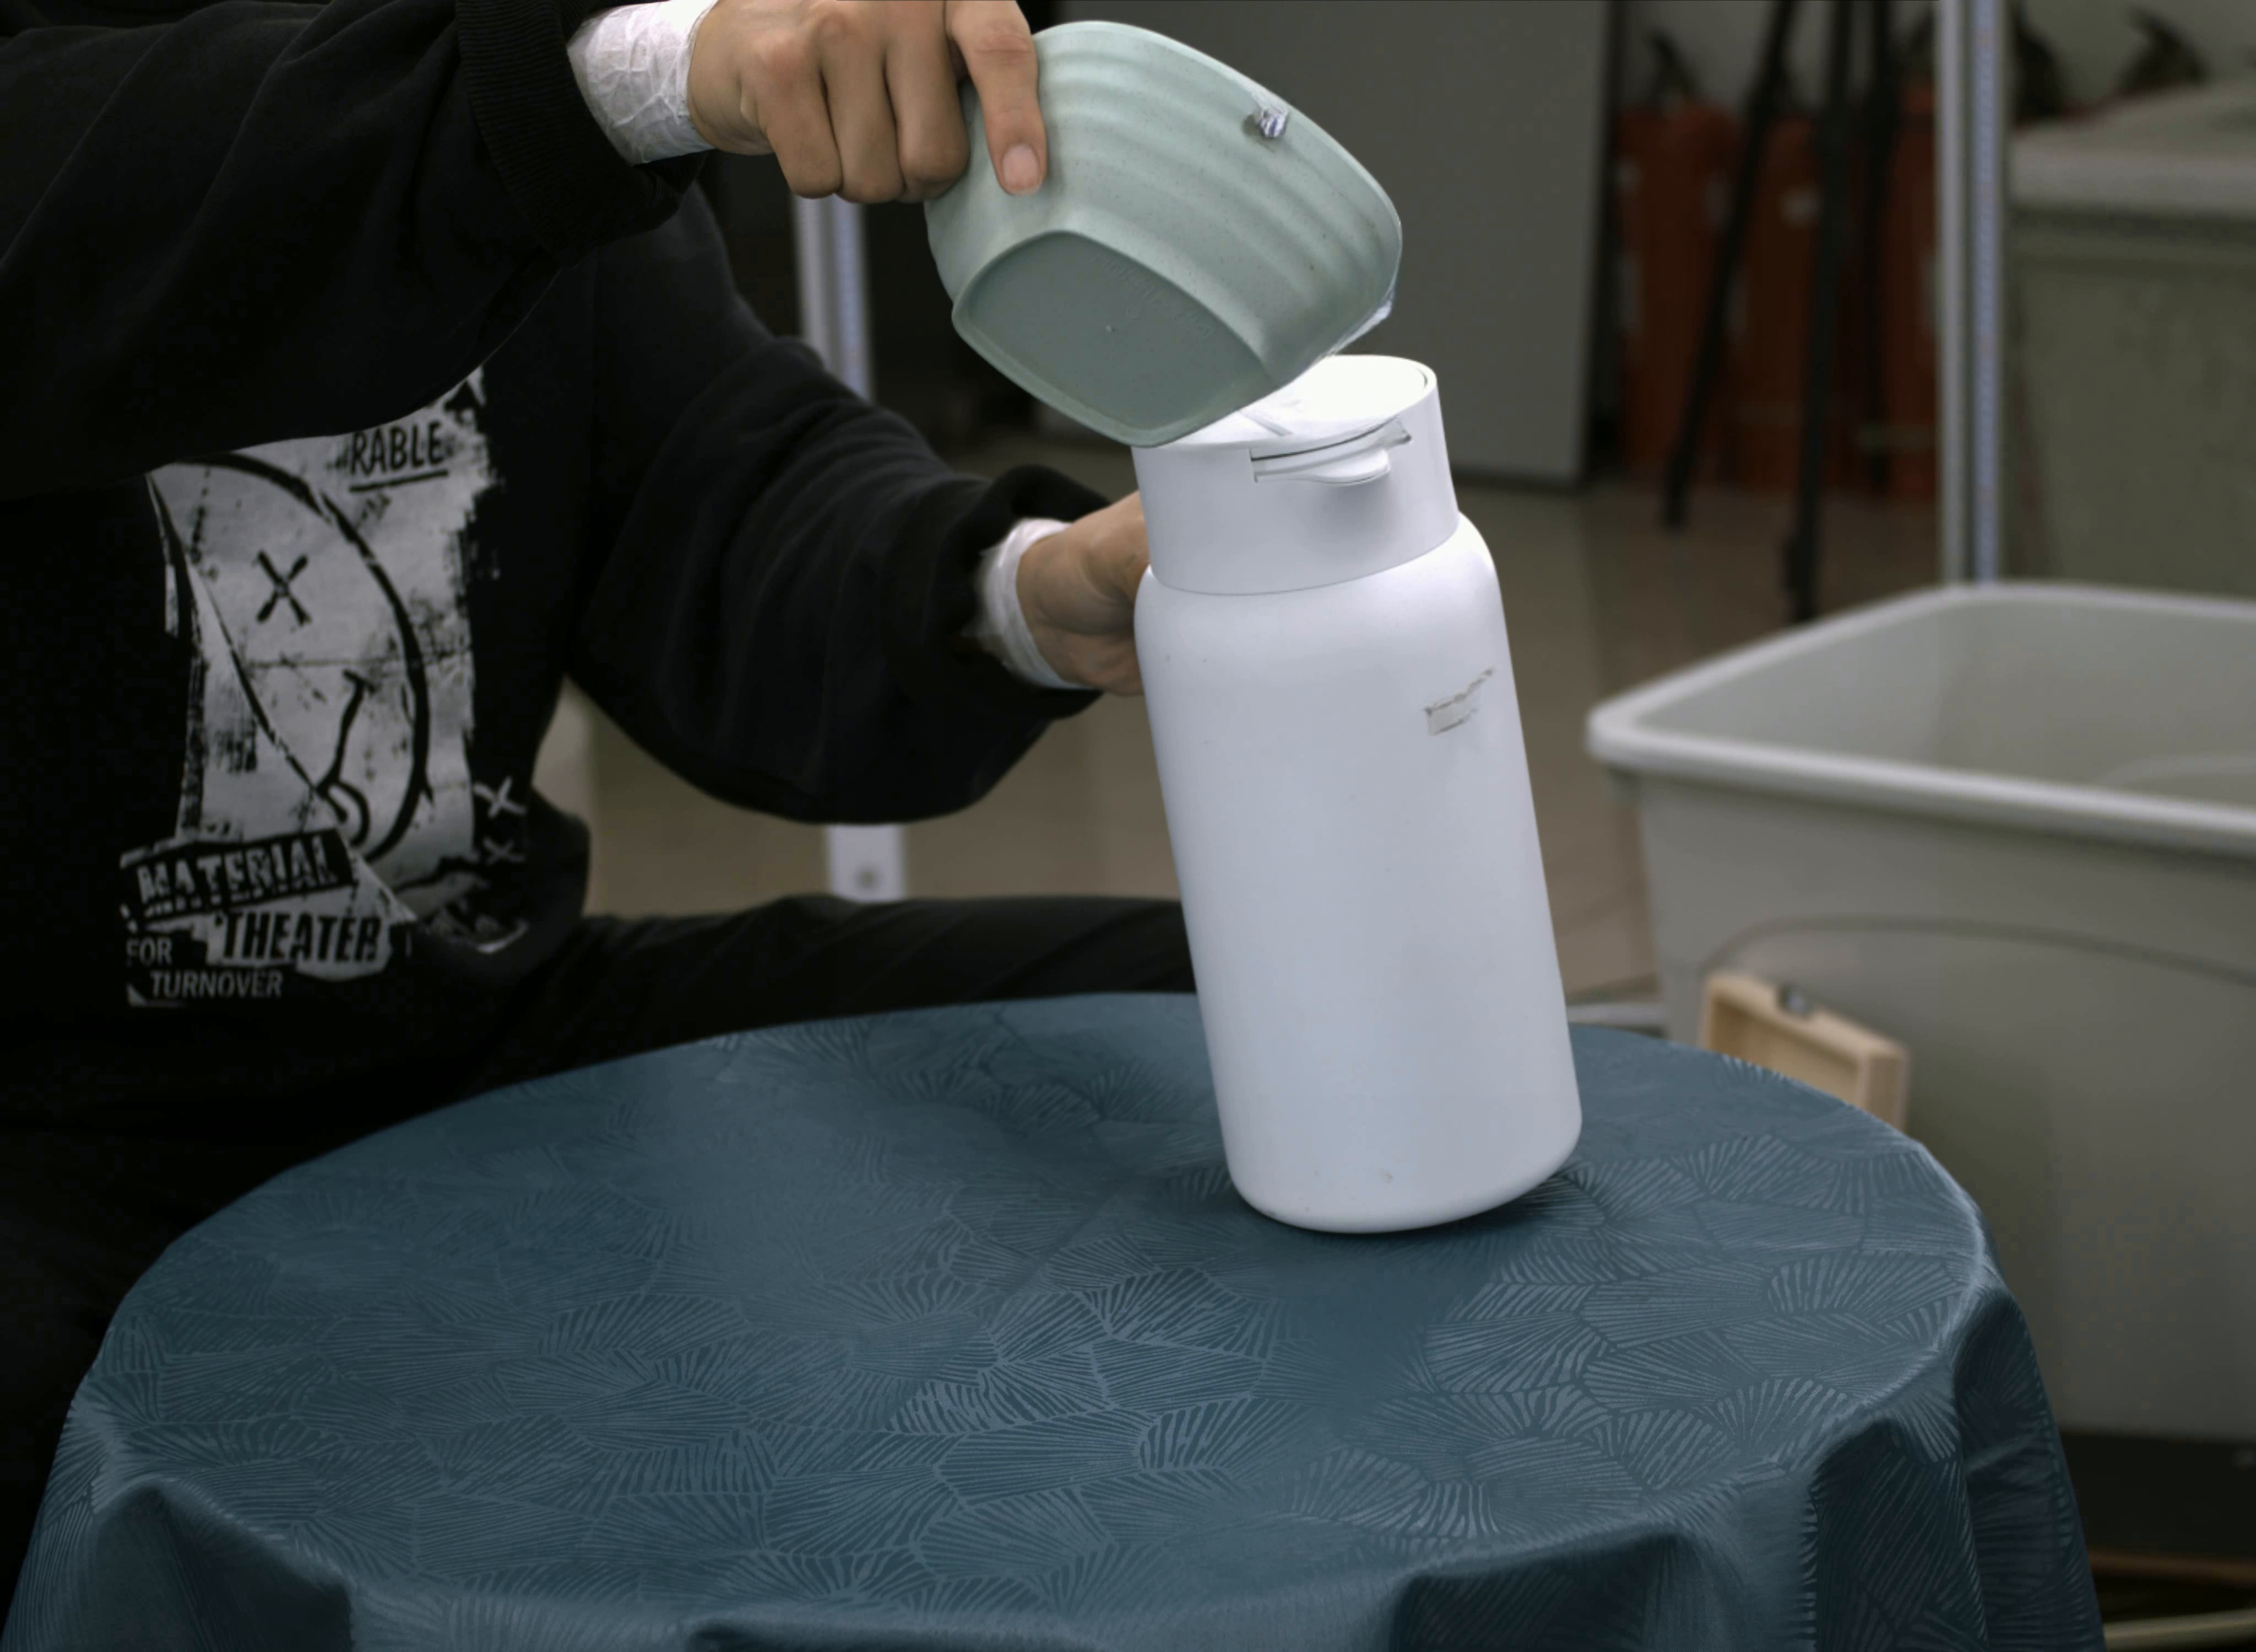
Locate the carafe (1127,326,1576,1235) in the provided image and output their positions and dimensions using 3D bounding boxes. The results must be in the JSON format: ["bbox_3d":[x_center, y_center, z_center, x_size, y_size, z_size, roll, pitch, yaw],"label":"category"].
[{"bbox_3d":[0.061,-0.017,1.730,0.122,0.271,0.174,-18,20,-16],"label":"carafe"}]

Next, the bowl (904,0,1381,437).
[{"bbox_3d":[-0.004,-0.167,1.583,0.152,0.150,0.059,4,54,27],"label":"bowl"}]
